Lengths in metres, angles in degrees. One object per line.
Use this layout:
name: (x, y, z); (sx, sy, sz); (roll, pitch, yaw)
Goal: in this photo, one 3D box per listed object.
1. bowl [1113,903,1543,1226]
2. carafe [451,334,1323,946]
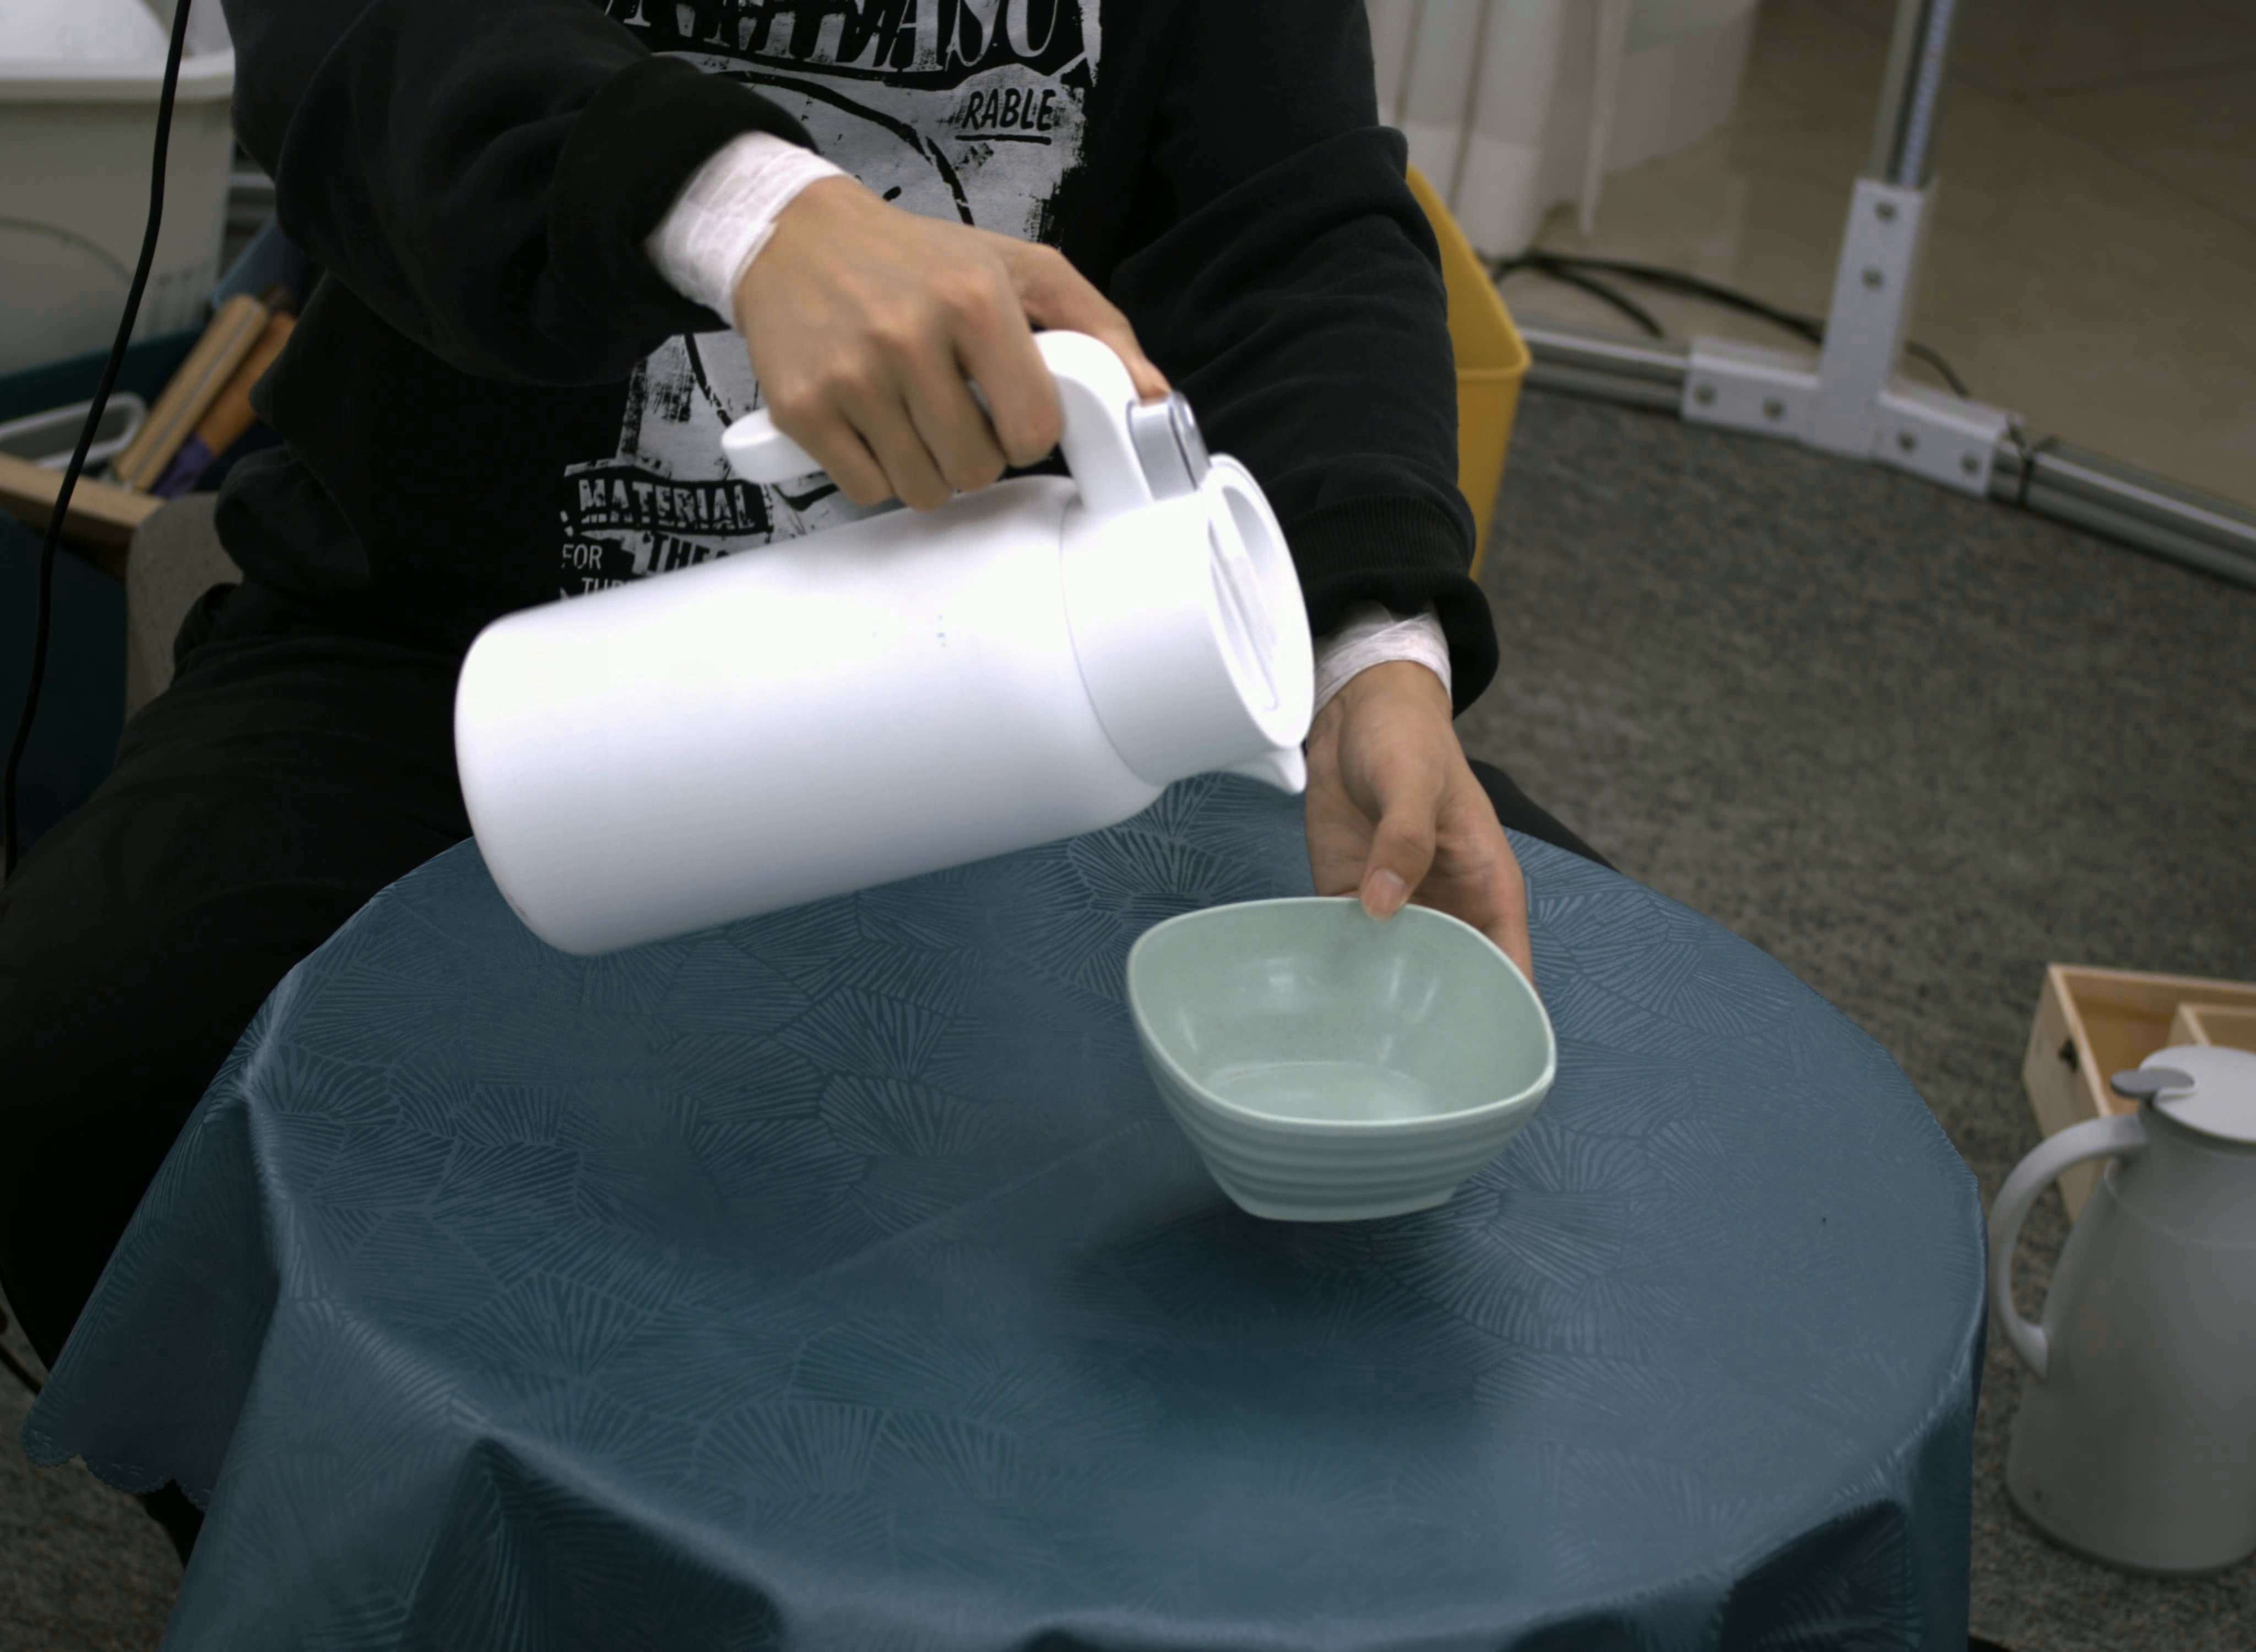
bowl: (0.064, 0.086, 1.771); (0.151, 0.058, 0.152); (4, 29, -2)
carafe: (-0.087, -0.057, 1.730); (0.269, 0.172, 0.124); (-12, 27, 21)
